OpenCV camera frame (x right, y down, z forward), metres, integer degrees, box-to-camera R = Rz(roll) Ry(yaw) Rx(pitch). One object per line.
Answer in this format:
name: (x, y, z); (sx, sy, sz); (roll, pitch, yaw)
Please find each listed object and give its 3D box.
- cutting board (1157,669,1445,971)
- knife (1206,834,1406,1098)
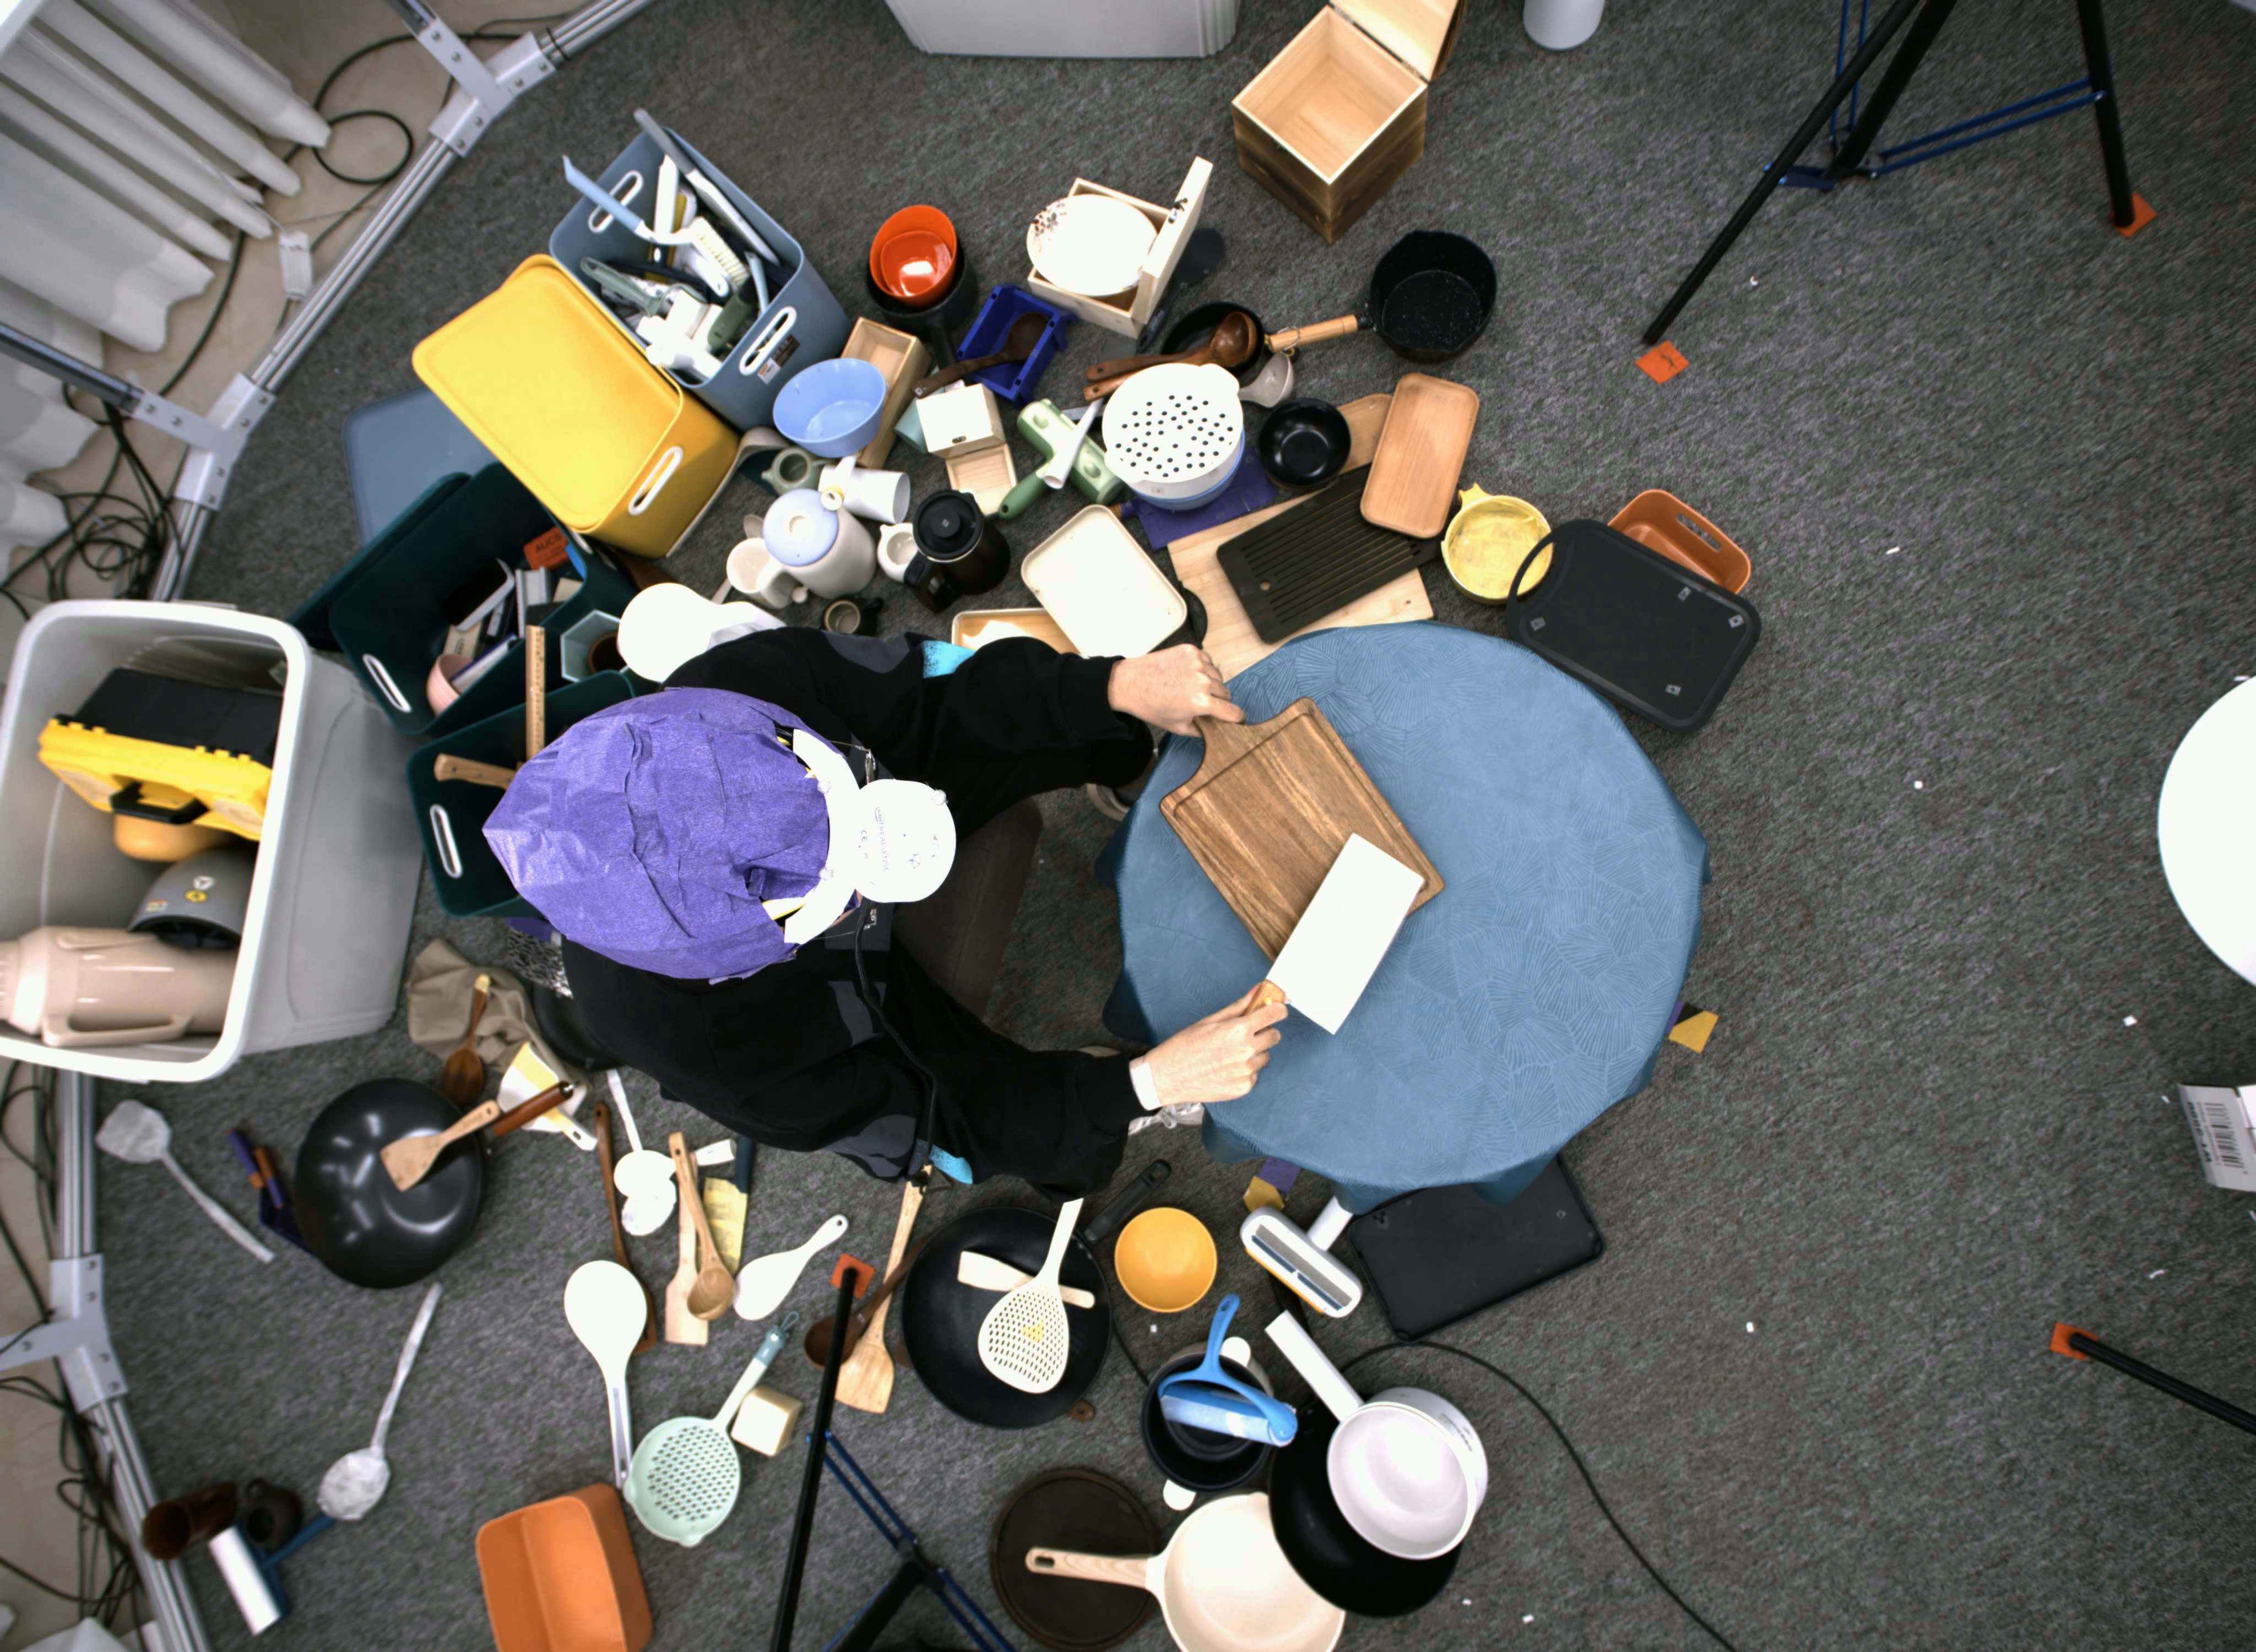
cutting board: (0.151, -0.020, 1.437); (0.202, 0.023, 0.353); (-37, 95, 6)
knife: (0.188, 0.152, 1.407); (0.093, 0.021, 0.303); (33, 81, -2)
